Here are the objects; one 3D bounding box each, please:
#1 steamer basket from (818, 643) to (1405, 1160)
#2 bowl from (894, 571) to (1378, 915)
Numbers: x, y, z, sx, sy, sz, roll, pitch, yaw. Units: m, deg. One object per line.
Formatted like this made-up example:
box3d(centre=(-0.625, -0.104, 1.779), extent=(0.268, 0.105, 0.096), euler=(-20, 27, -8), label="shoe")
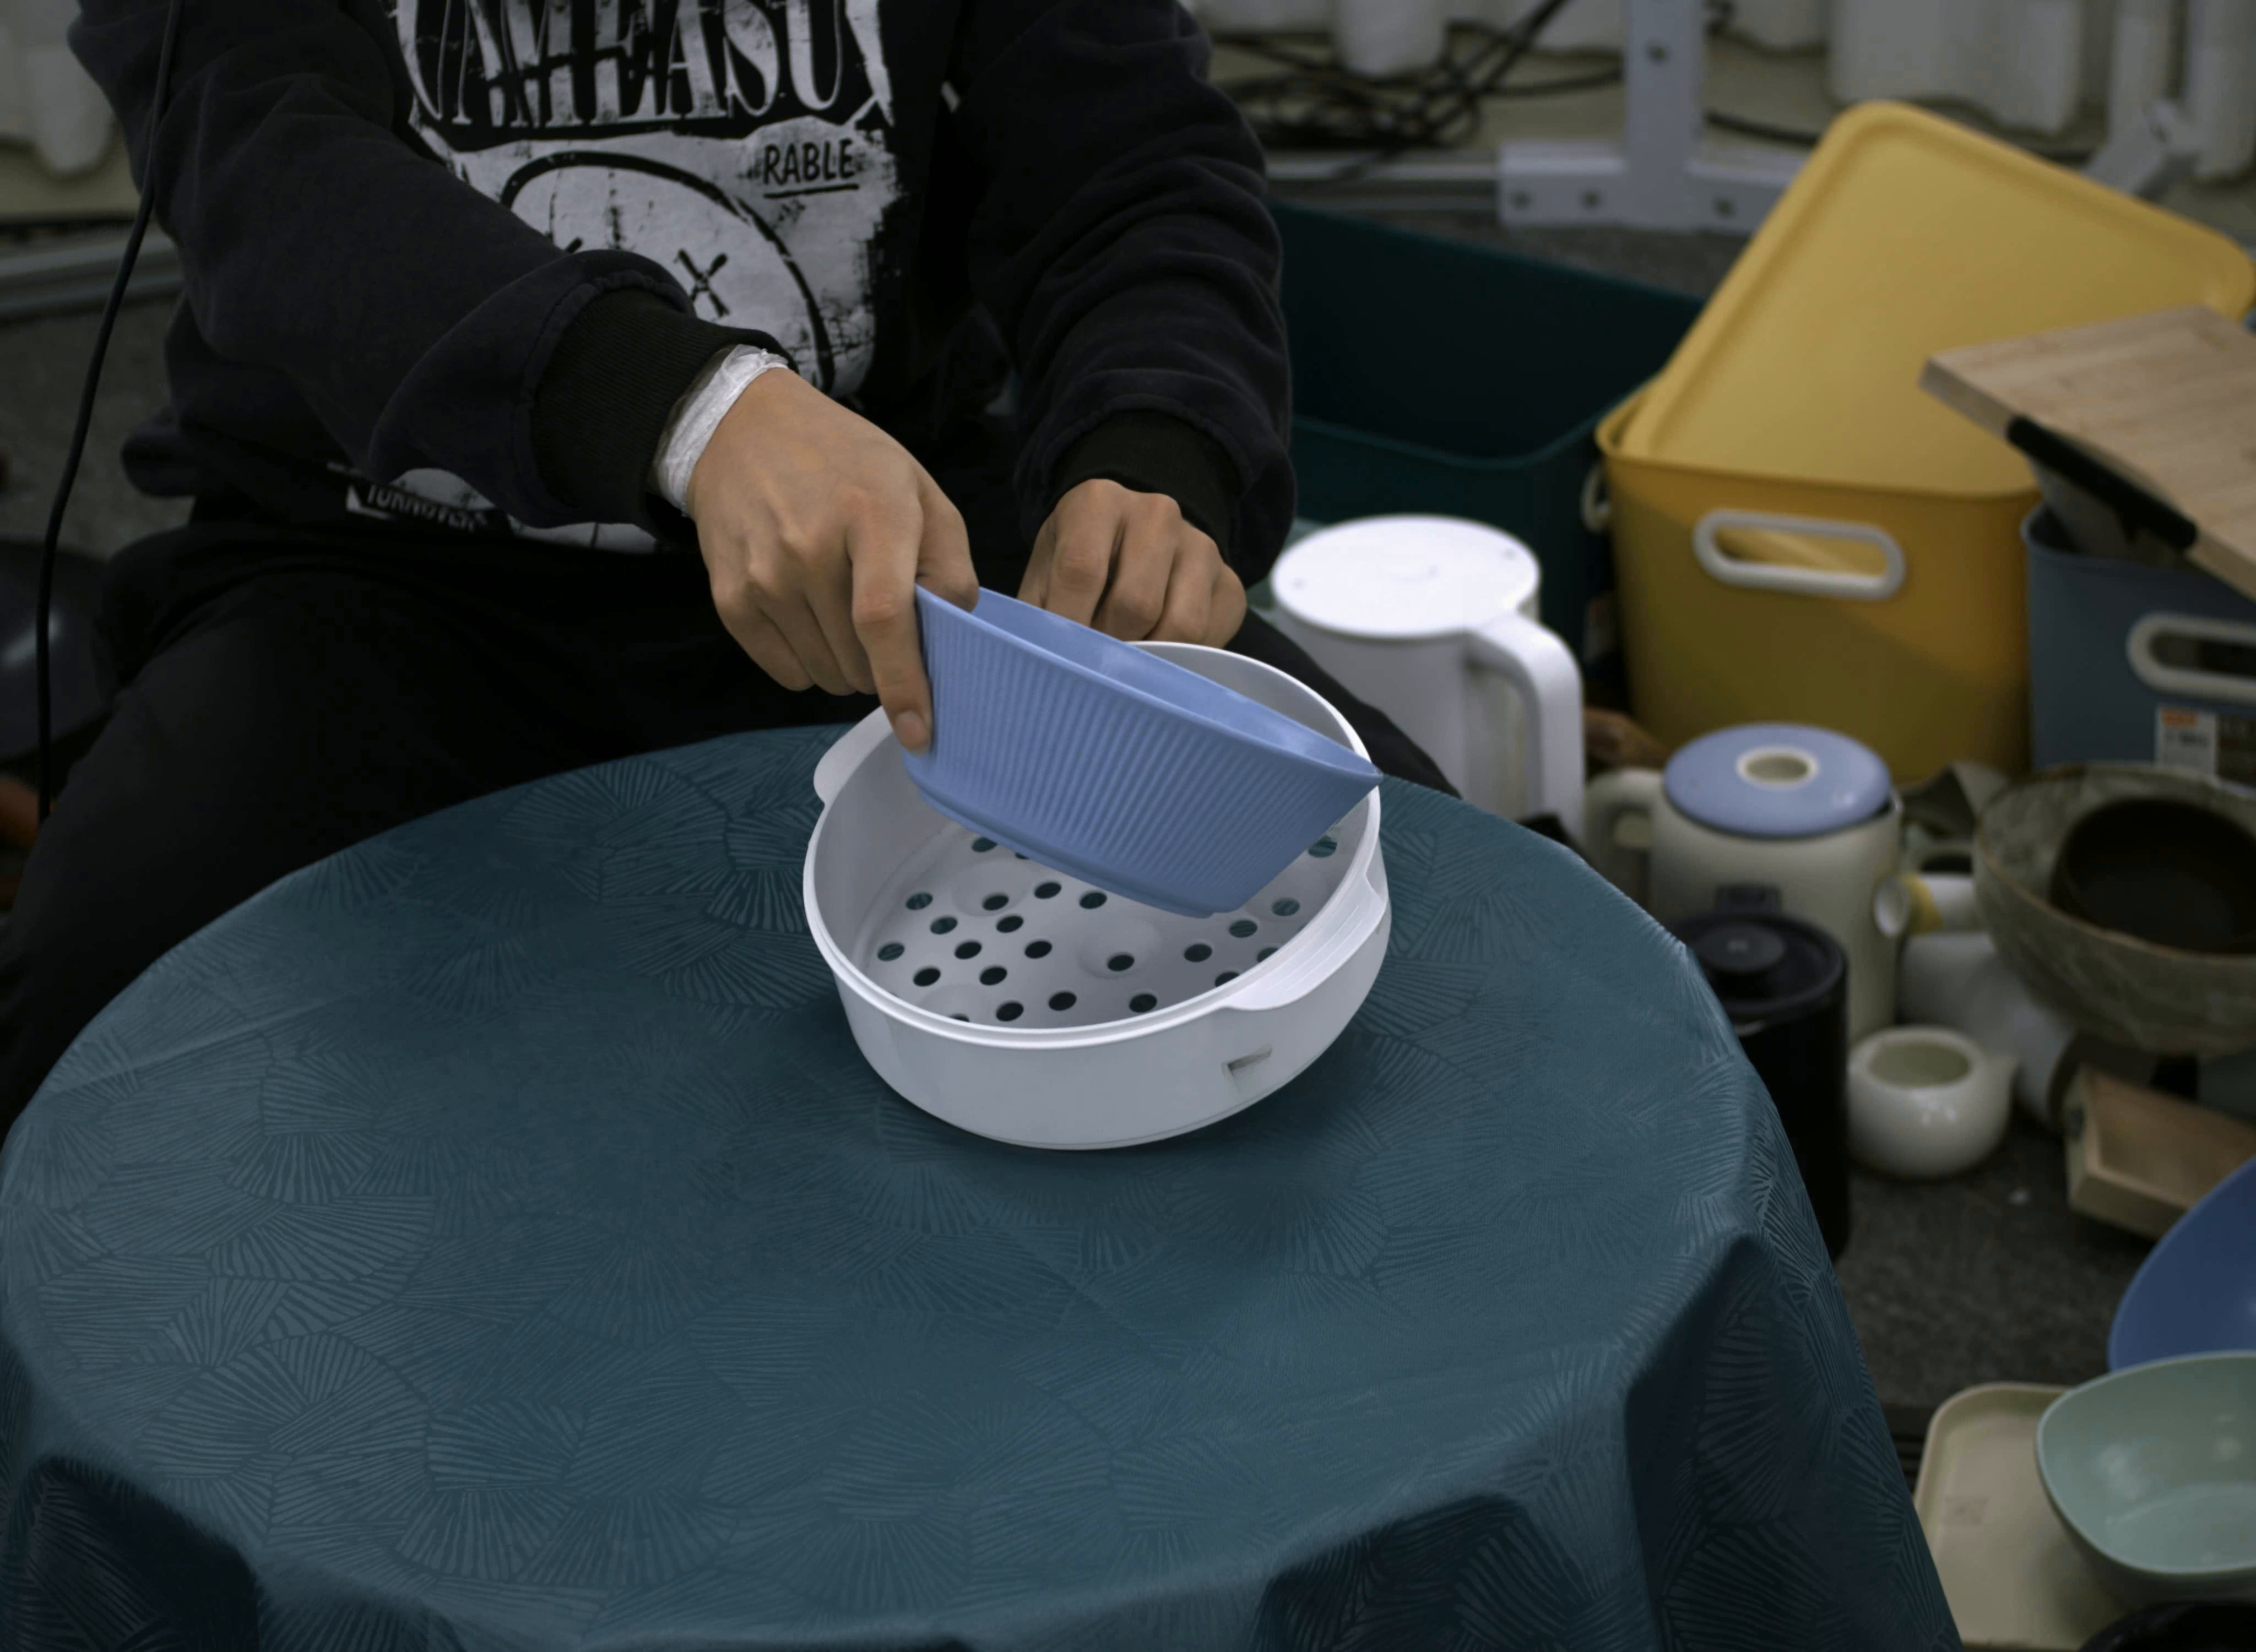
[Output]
box3d(centre=(-0.003, 0.027, 1.931), extent=(0.230, 0.068, 0.205), euler=(26, 54, 34), label="steamer basket")
box3d(centre=(-0.009, -0.022, 1.876), extent=(0.175, 0.070, 0.176), euler=(23, 4, -1), label="bowl")
